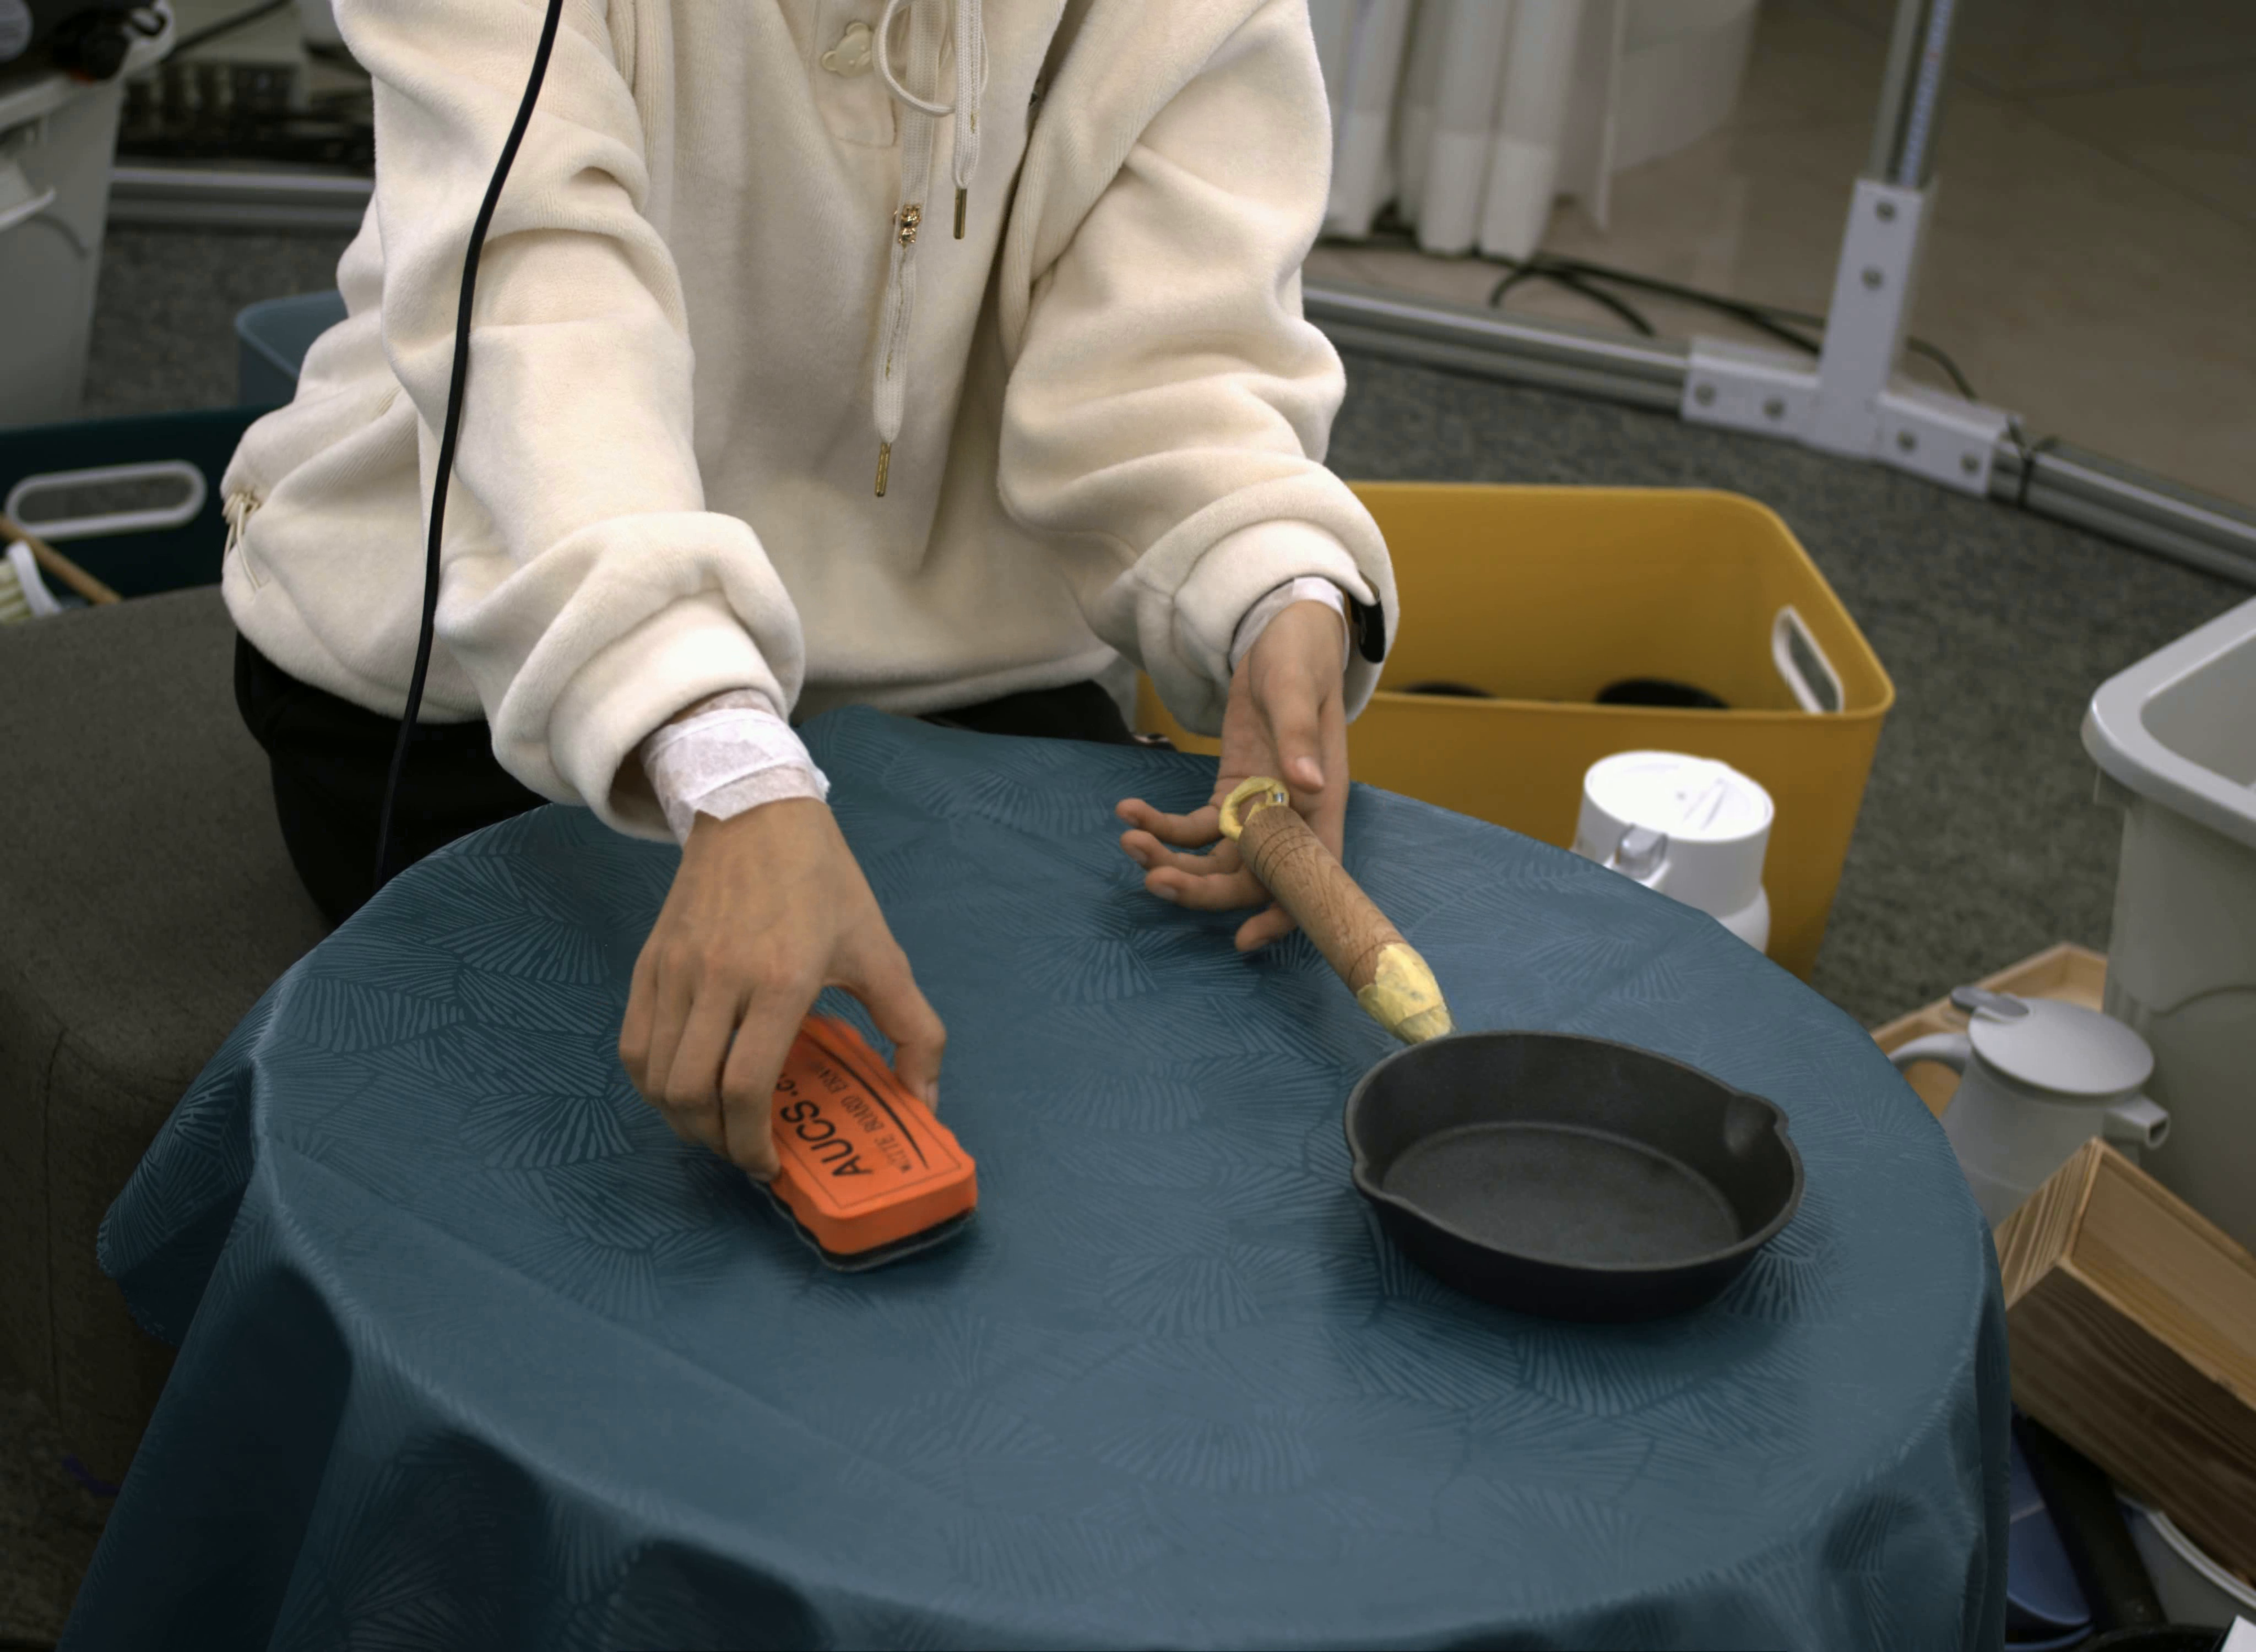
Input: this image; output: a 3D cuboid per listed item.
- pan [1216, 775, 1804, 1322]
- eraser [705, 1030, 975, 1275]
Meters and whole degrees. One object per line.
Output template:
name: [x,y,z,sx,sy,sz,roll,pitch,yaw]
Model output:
pan: [0.113,0.075,1.866,0.168,0.049,0.327,-8,31,-25]
eraser: [-0.097,0.108,1.778,0.058,0.023,0.109,-15,33,-23]
